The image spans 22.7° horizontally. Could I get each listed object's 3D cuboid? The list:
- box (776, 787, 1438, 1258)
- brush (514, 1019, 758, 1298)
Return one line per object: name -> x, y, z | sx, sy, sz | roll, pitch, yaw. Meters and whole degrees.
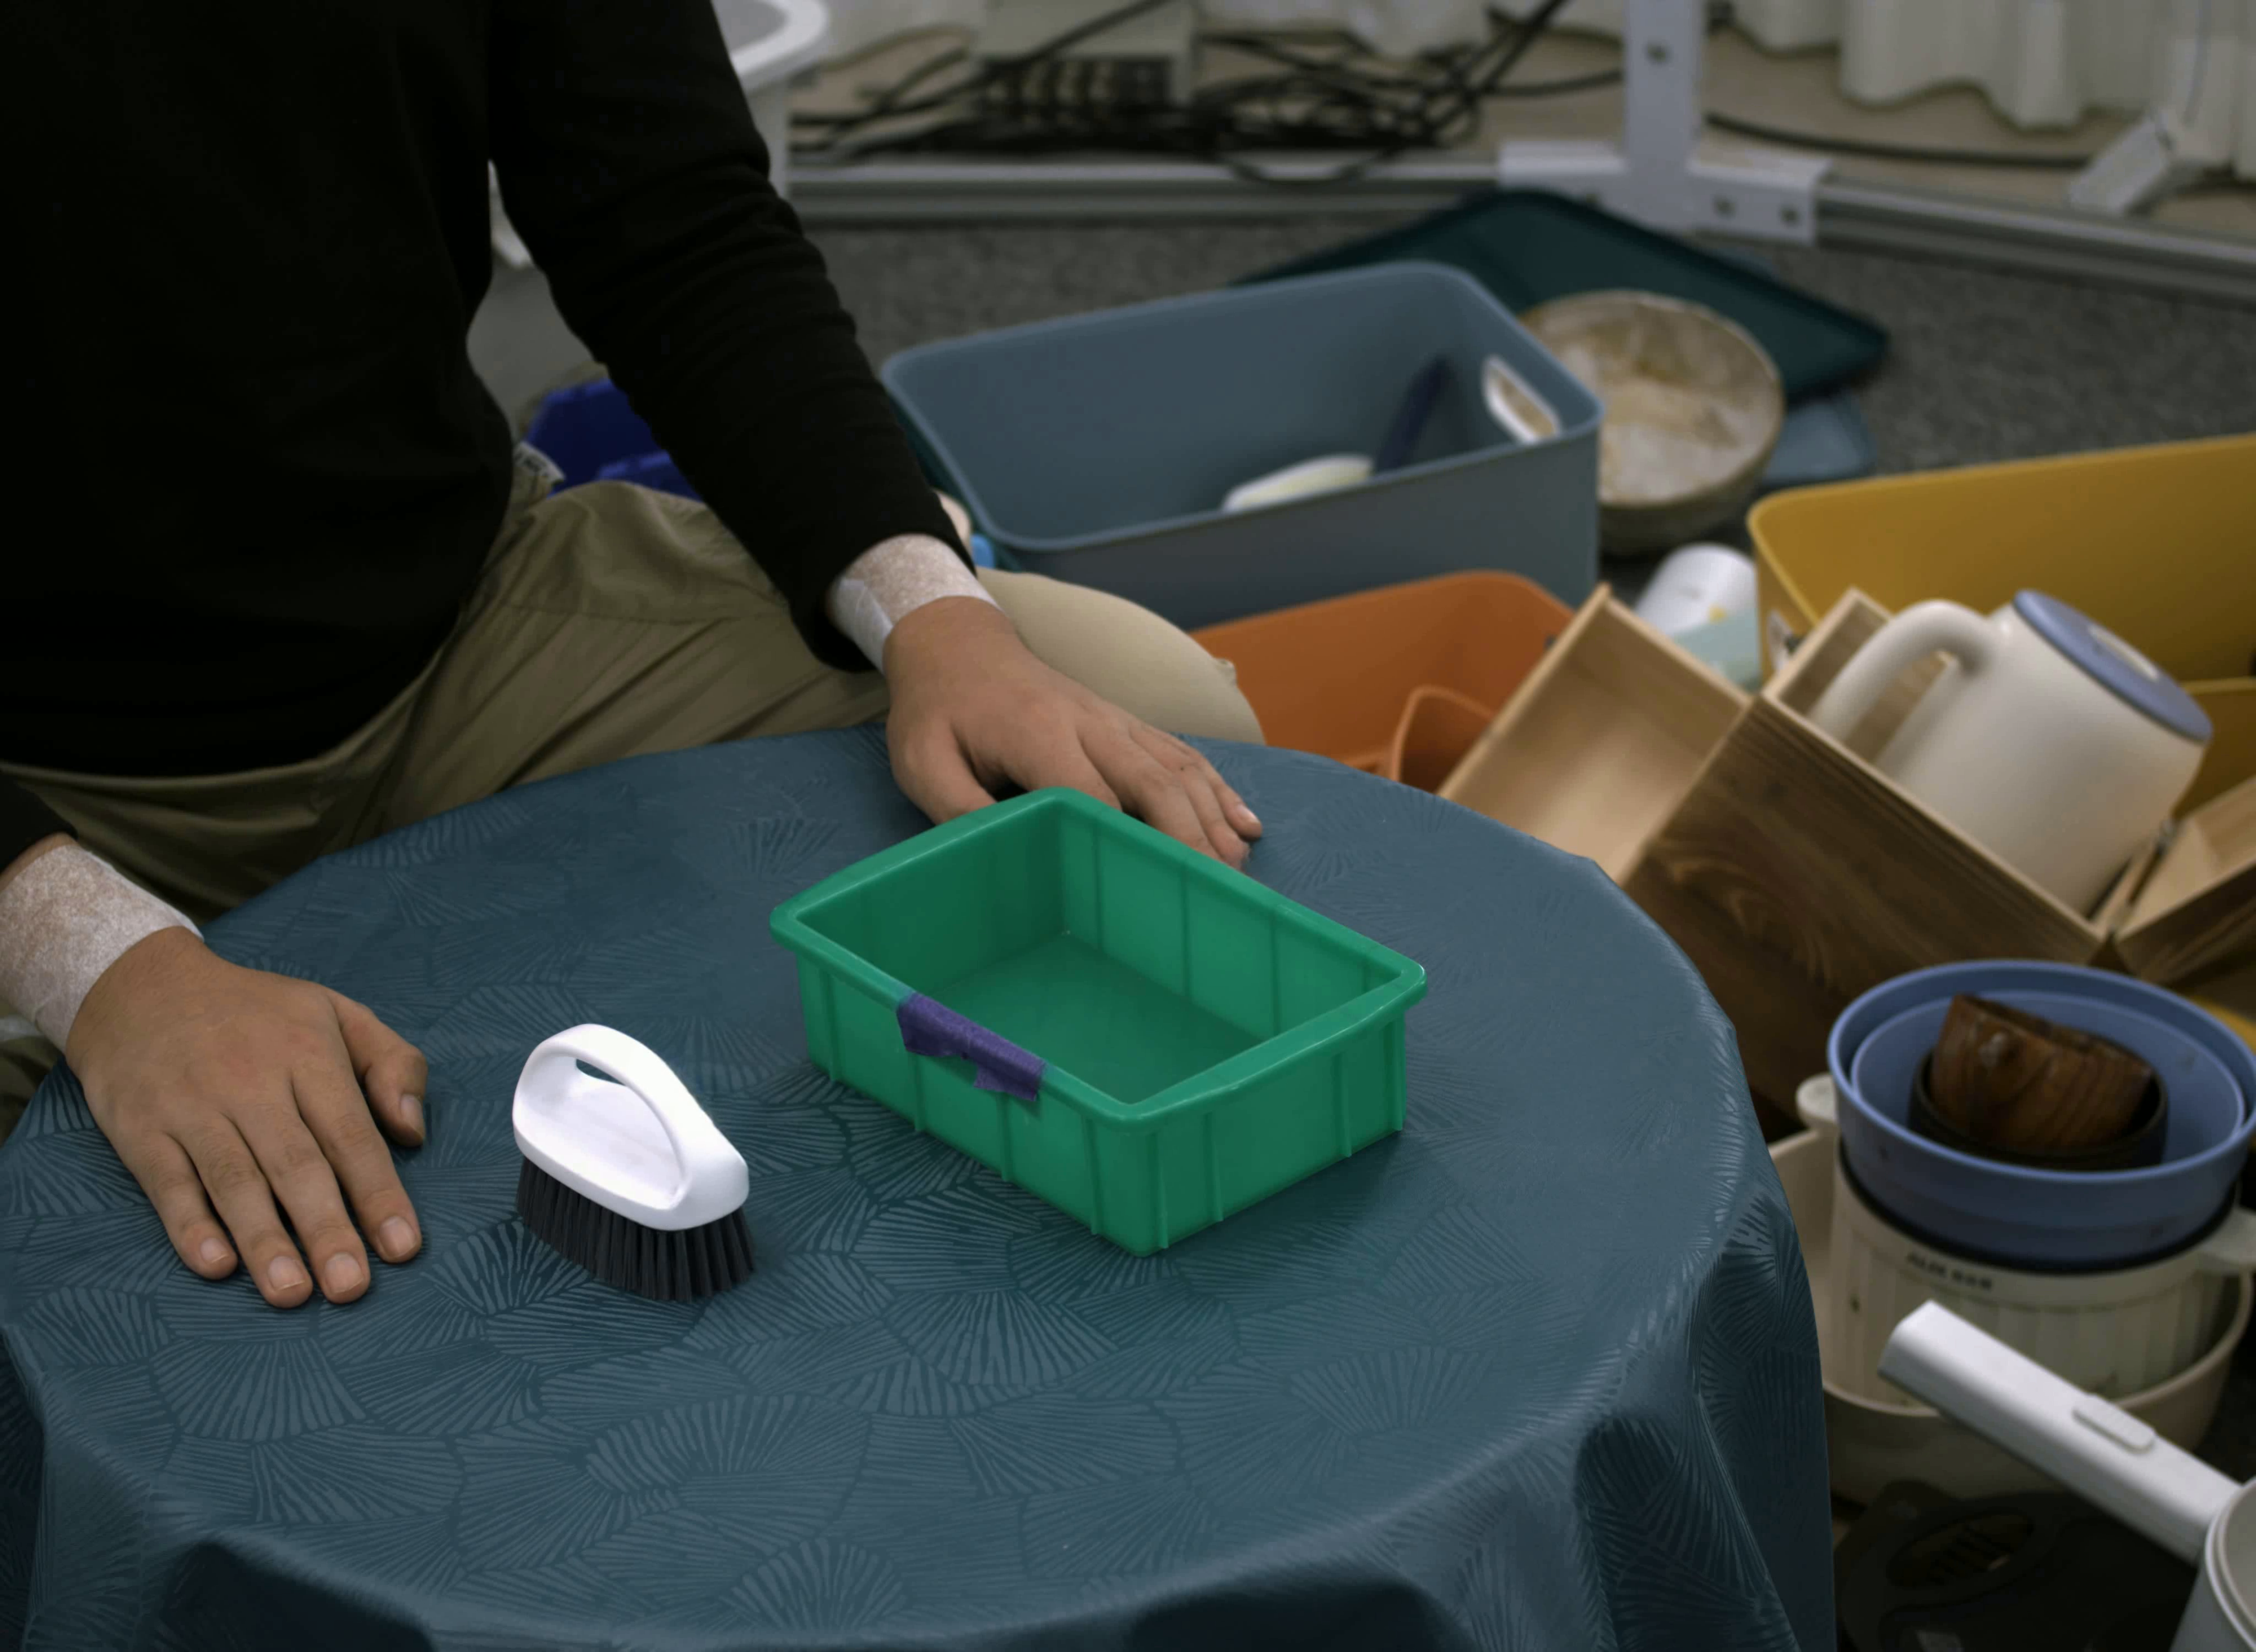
box -> -0.007, 0.066, 1.902 | 0.140, 0.064, 0.210 | -26, 36, -34
brush -> -0.164, 0.102, 1.835 | 0.051, 0.072, 0.099 | -23, 33, -33
